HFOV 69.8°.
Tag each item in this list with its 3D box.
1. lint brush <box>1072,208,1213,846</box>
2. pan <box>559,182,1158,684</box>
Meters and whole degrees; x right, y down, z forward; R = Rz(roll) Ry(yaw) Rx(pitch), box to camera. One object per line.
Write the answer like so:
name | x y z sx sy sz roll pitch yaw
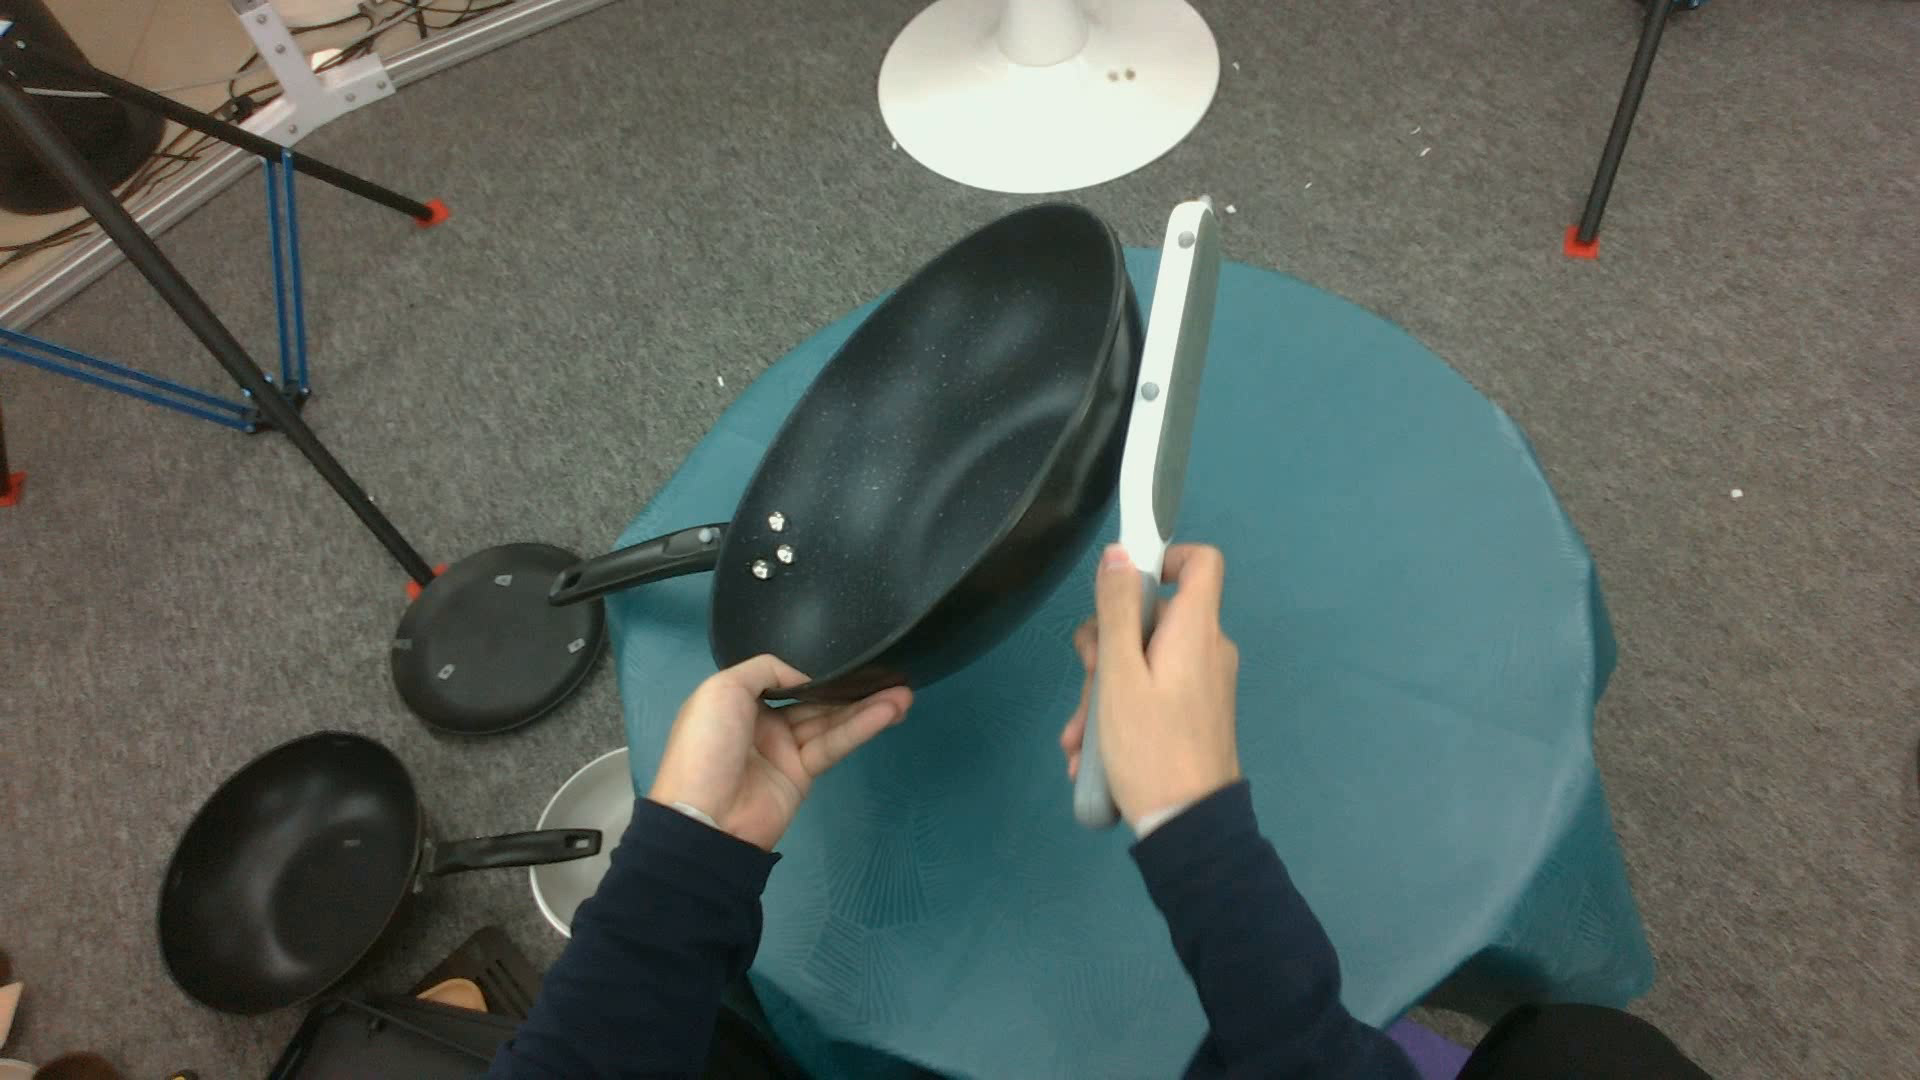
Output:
lint brush | 0.085 -0.016 0.621 0.021 0.060 0.310 5 69 18
pan | -0.066 -0.023 0.783 0.475 0.111 0.312 -25 37 41
